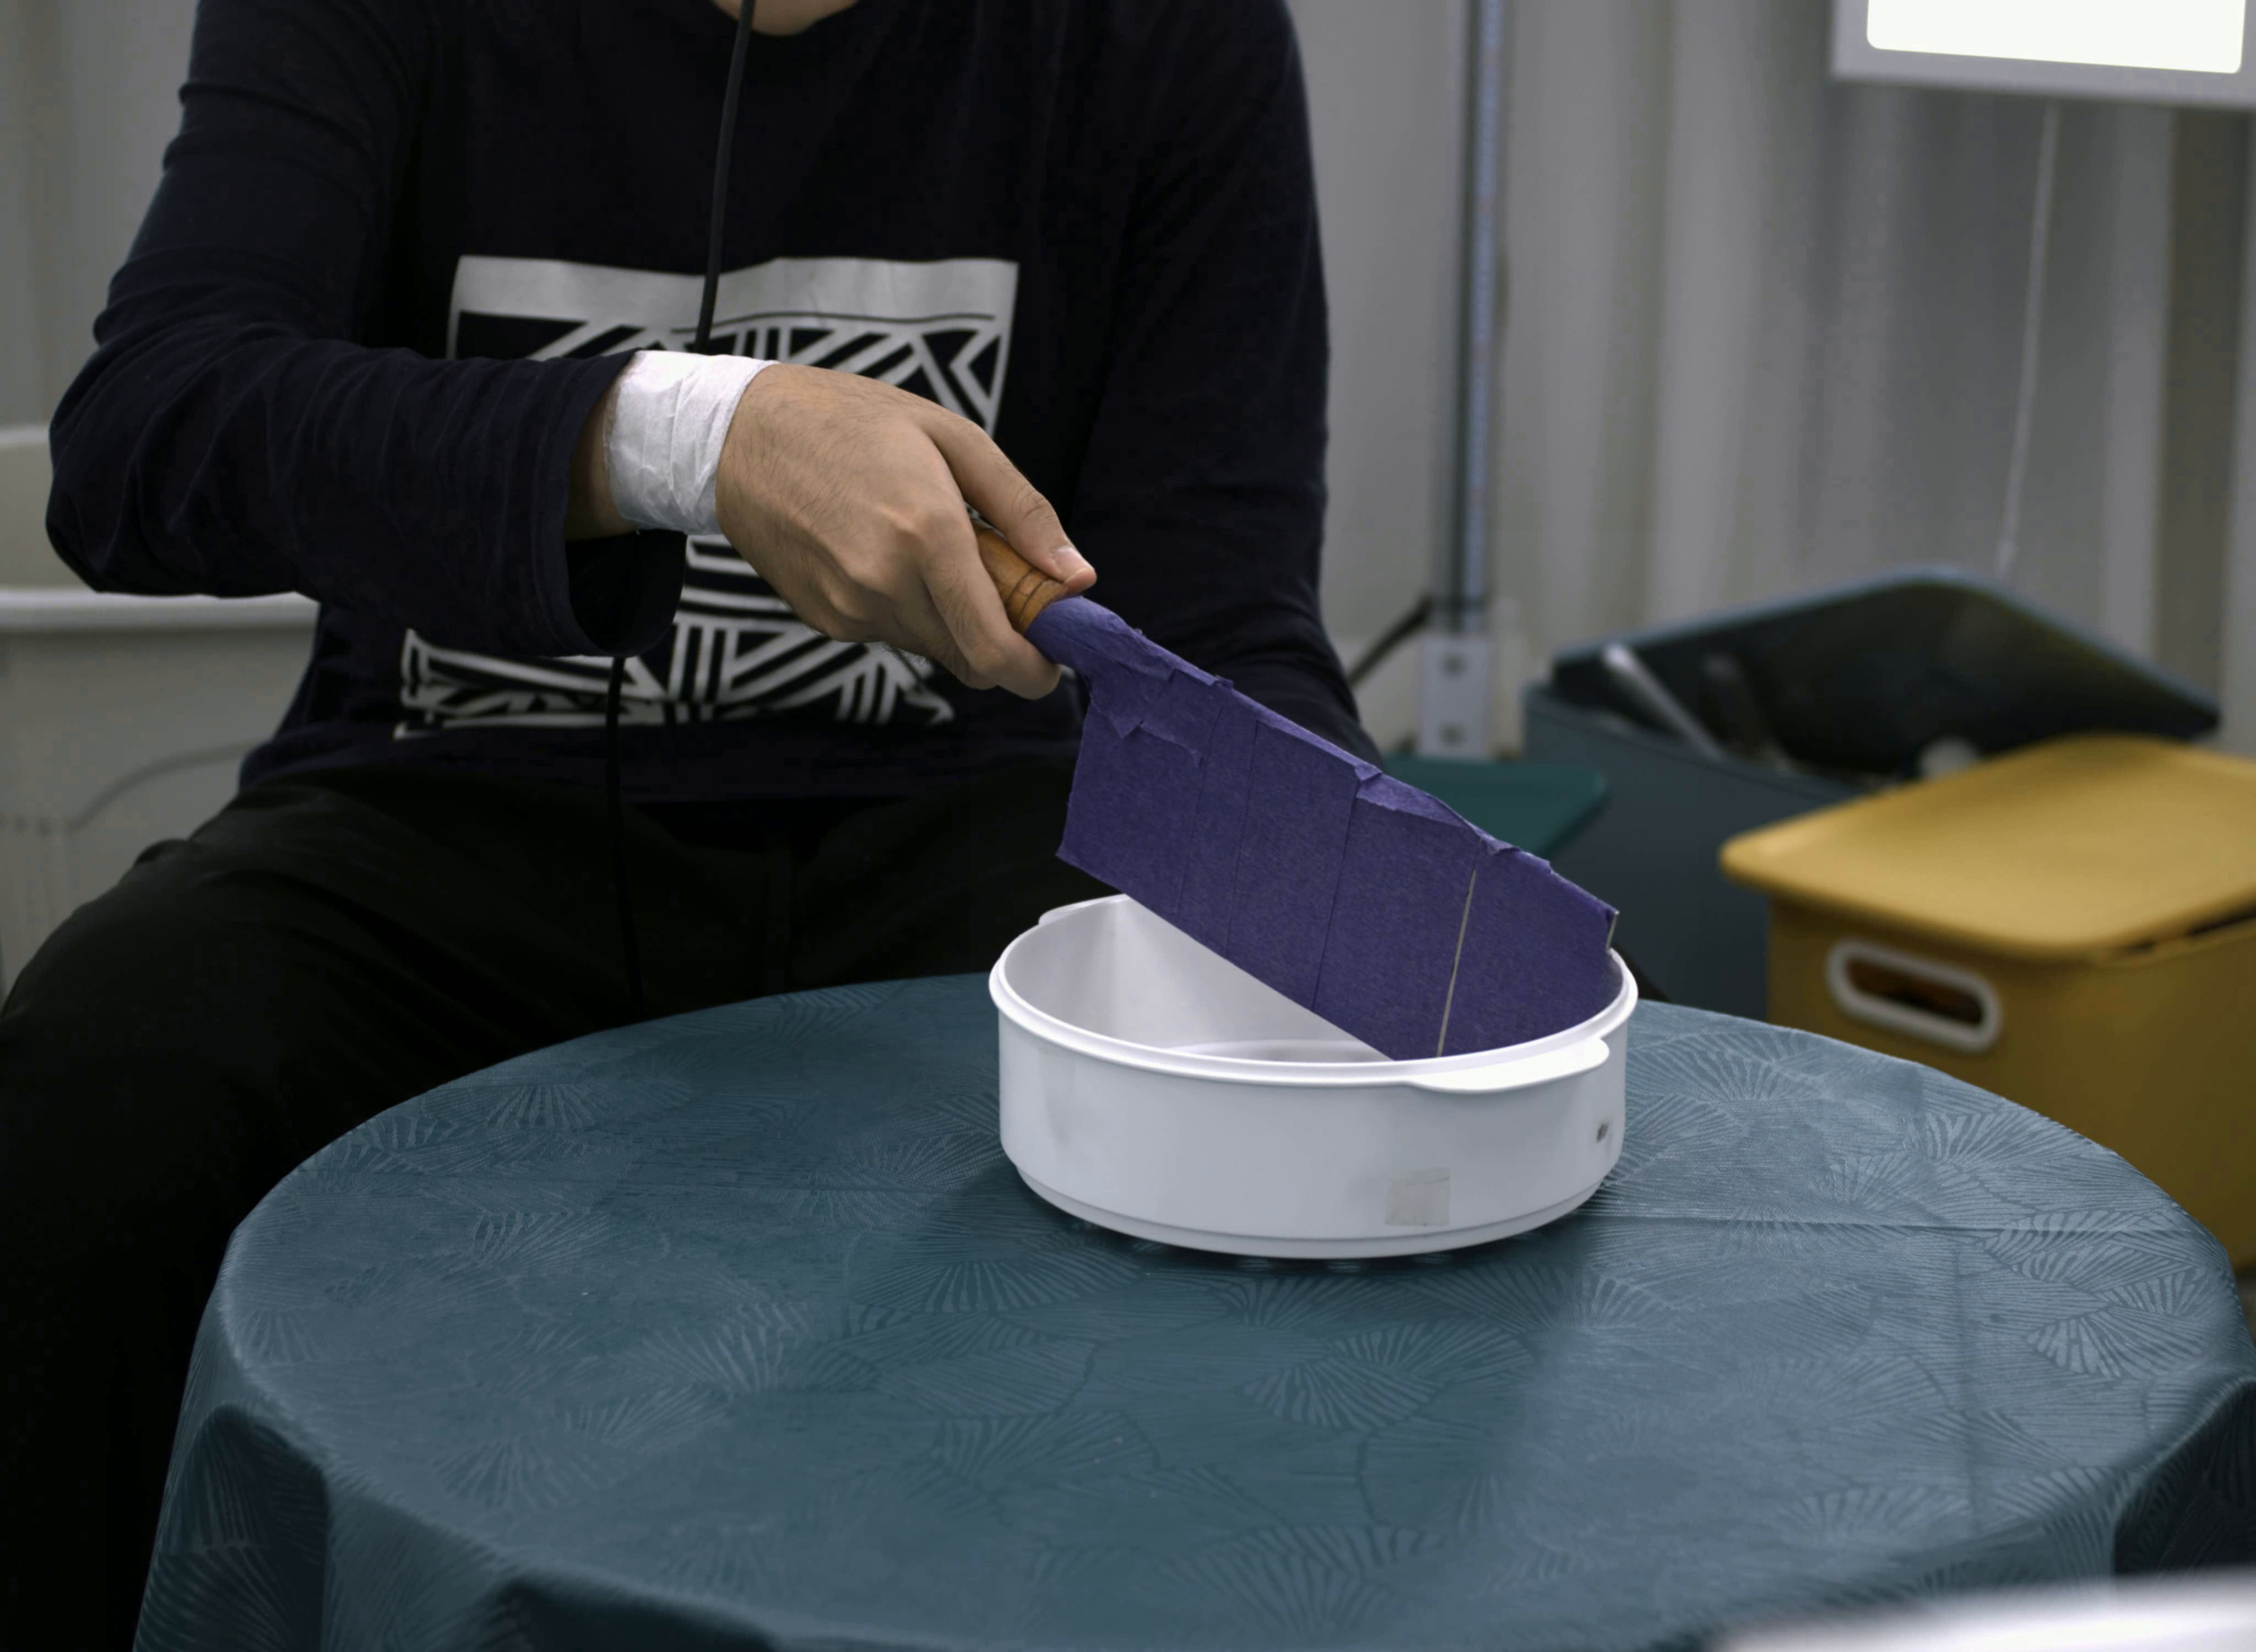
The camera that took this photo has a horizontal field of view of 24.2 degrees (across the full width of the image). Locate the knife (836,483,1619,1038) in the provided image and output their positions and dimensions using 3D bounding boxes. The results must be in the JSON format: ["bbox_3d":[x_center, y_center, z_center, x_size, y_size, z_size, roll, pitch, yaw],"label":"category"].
[{"bbox_3d":[0.022,-0.007,1.650,0.311,0.105,0.032,31,34,32],"label":"knife"}]

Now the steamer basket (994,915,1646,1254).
[{"bbox_3d":[0.059,0.078,1.629,0.203,0.070,0.227,-9,15,-35],"label":"steamer basket"}]
